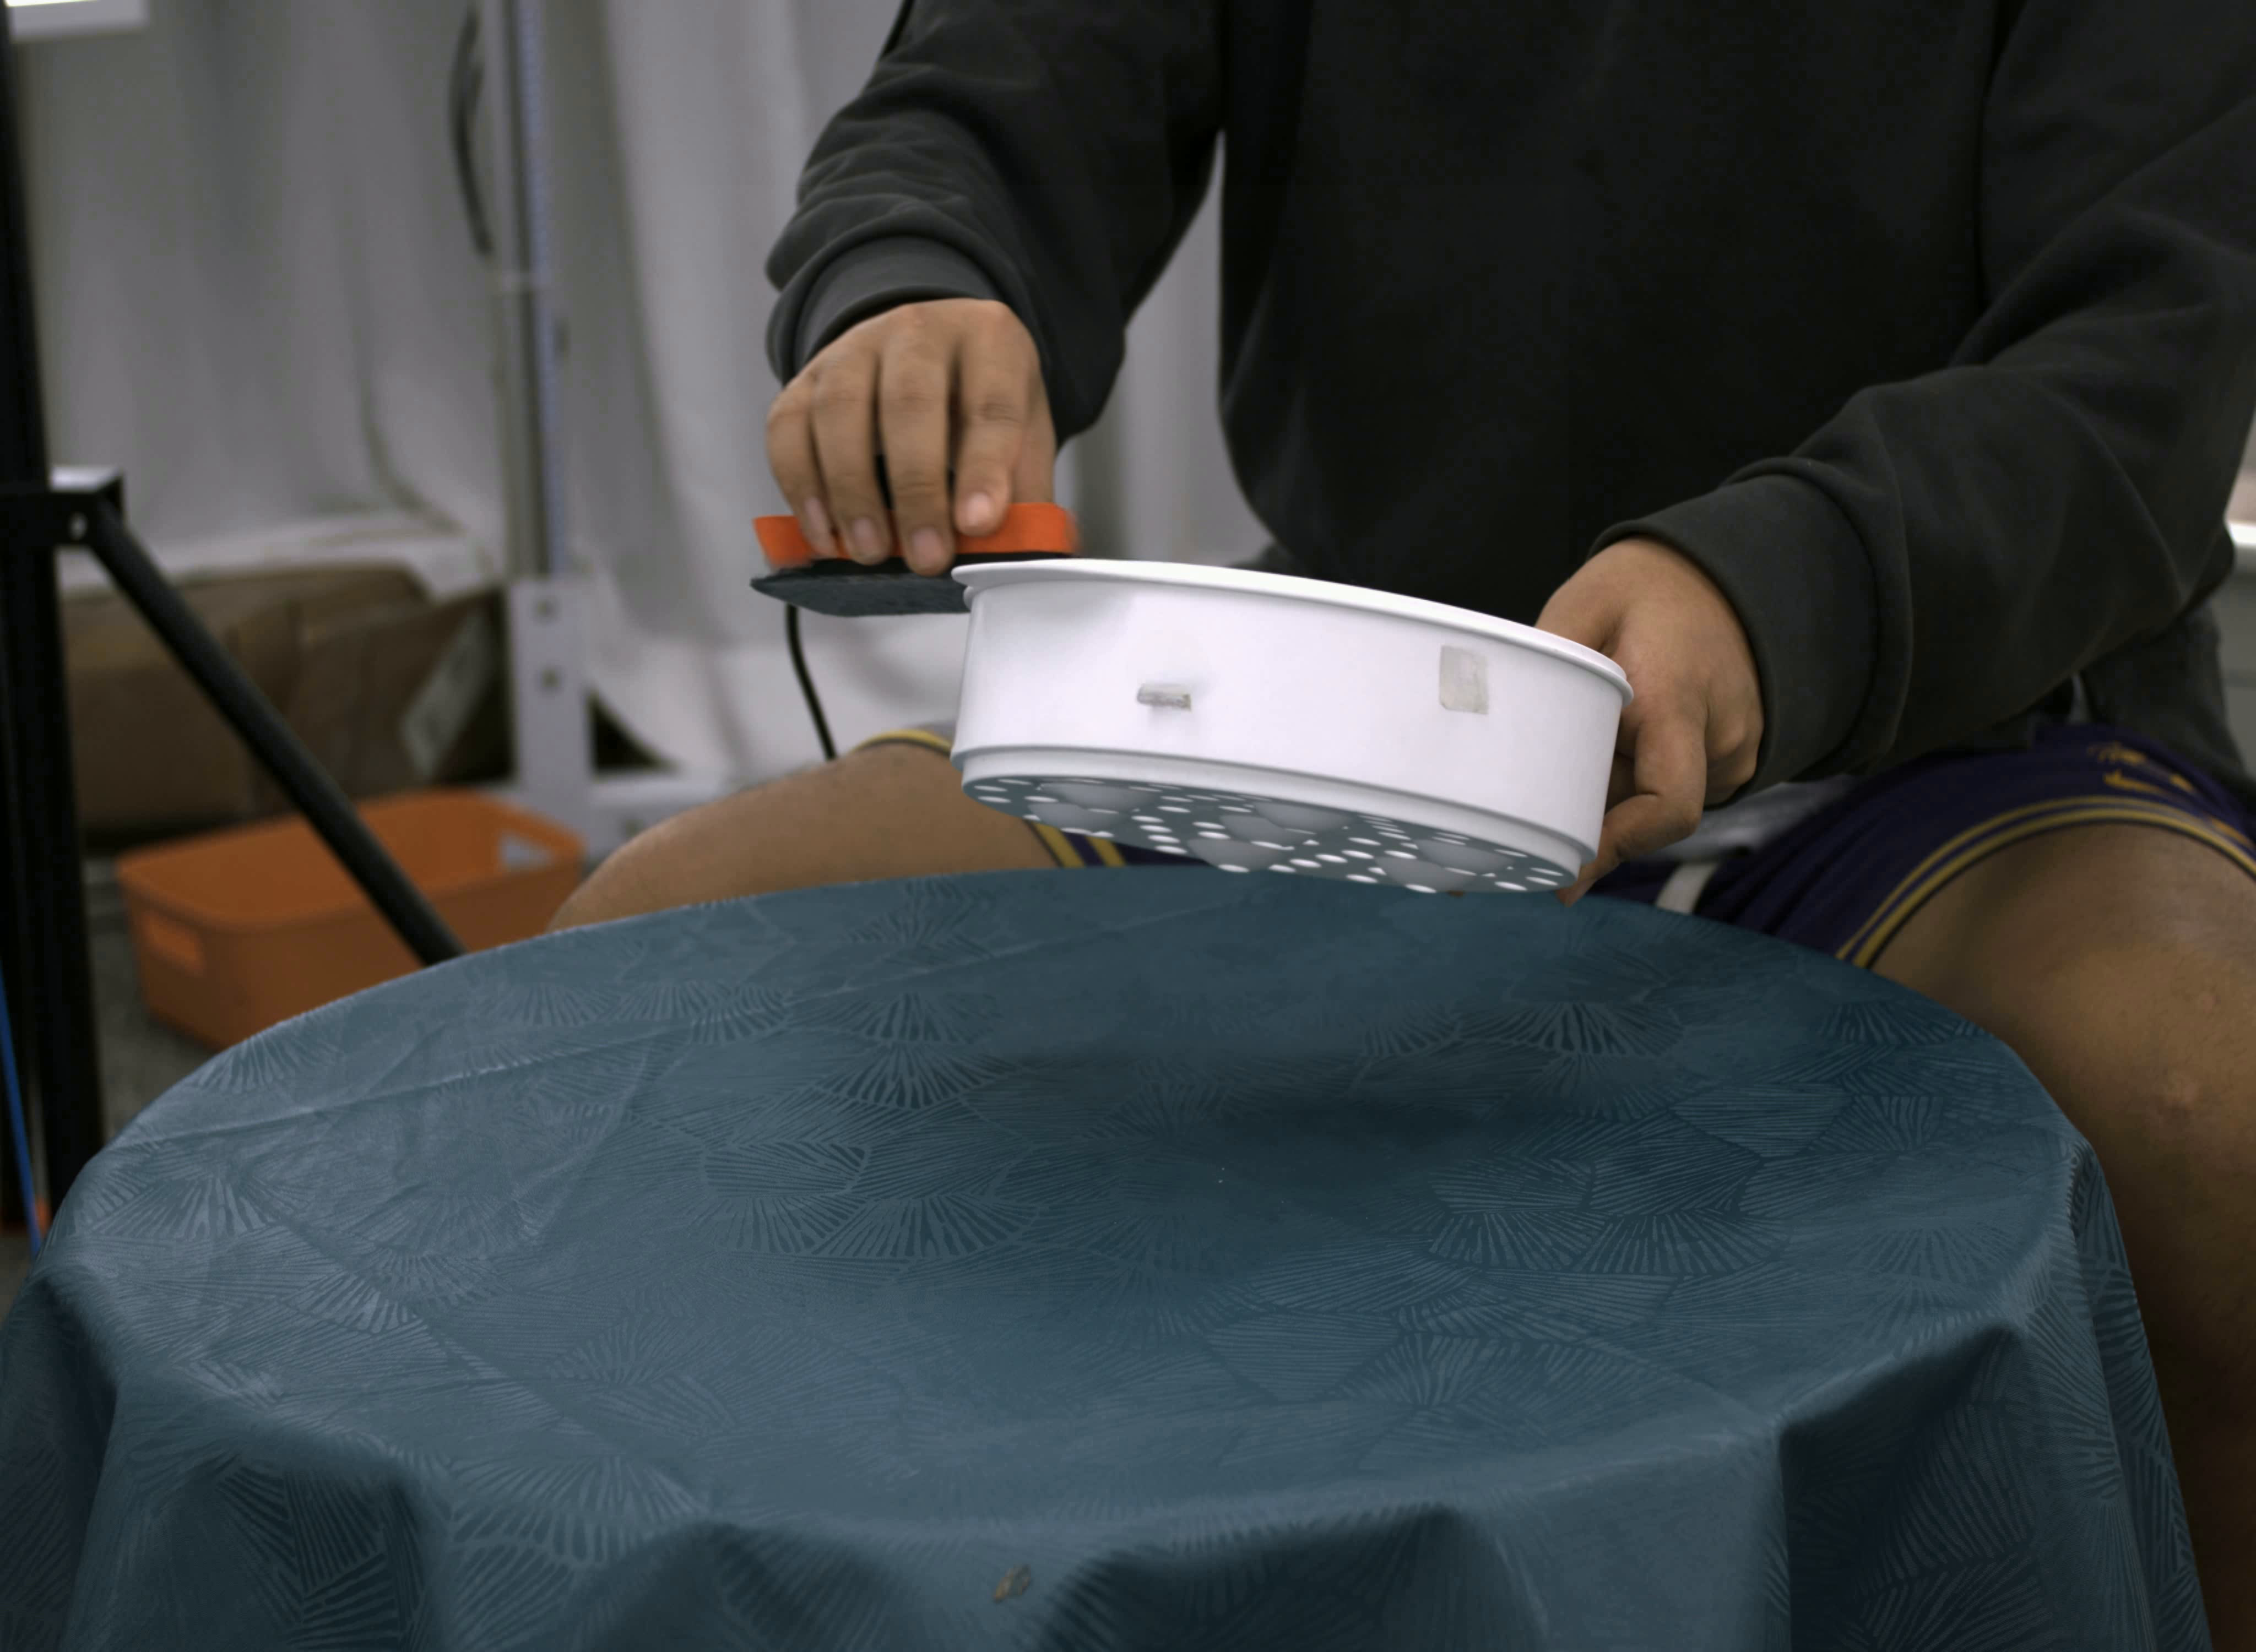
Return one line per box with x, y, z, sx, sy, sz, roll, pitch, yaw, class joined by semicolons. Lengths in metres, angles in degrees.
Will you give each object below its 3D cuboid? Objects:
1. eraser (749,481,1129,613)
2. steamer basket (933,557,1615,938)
-0.057;-0.084;1.617;0.109;0.023;0.057;-2;-15;27;eraser
0.040;-0.018;1.571;0.224;0.069;0.206;19;-15;-35;steamer basket
